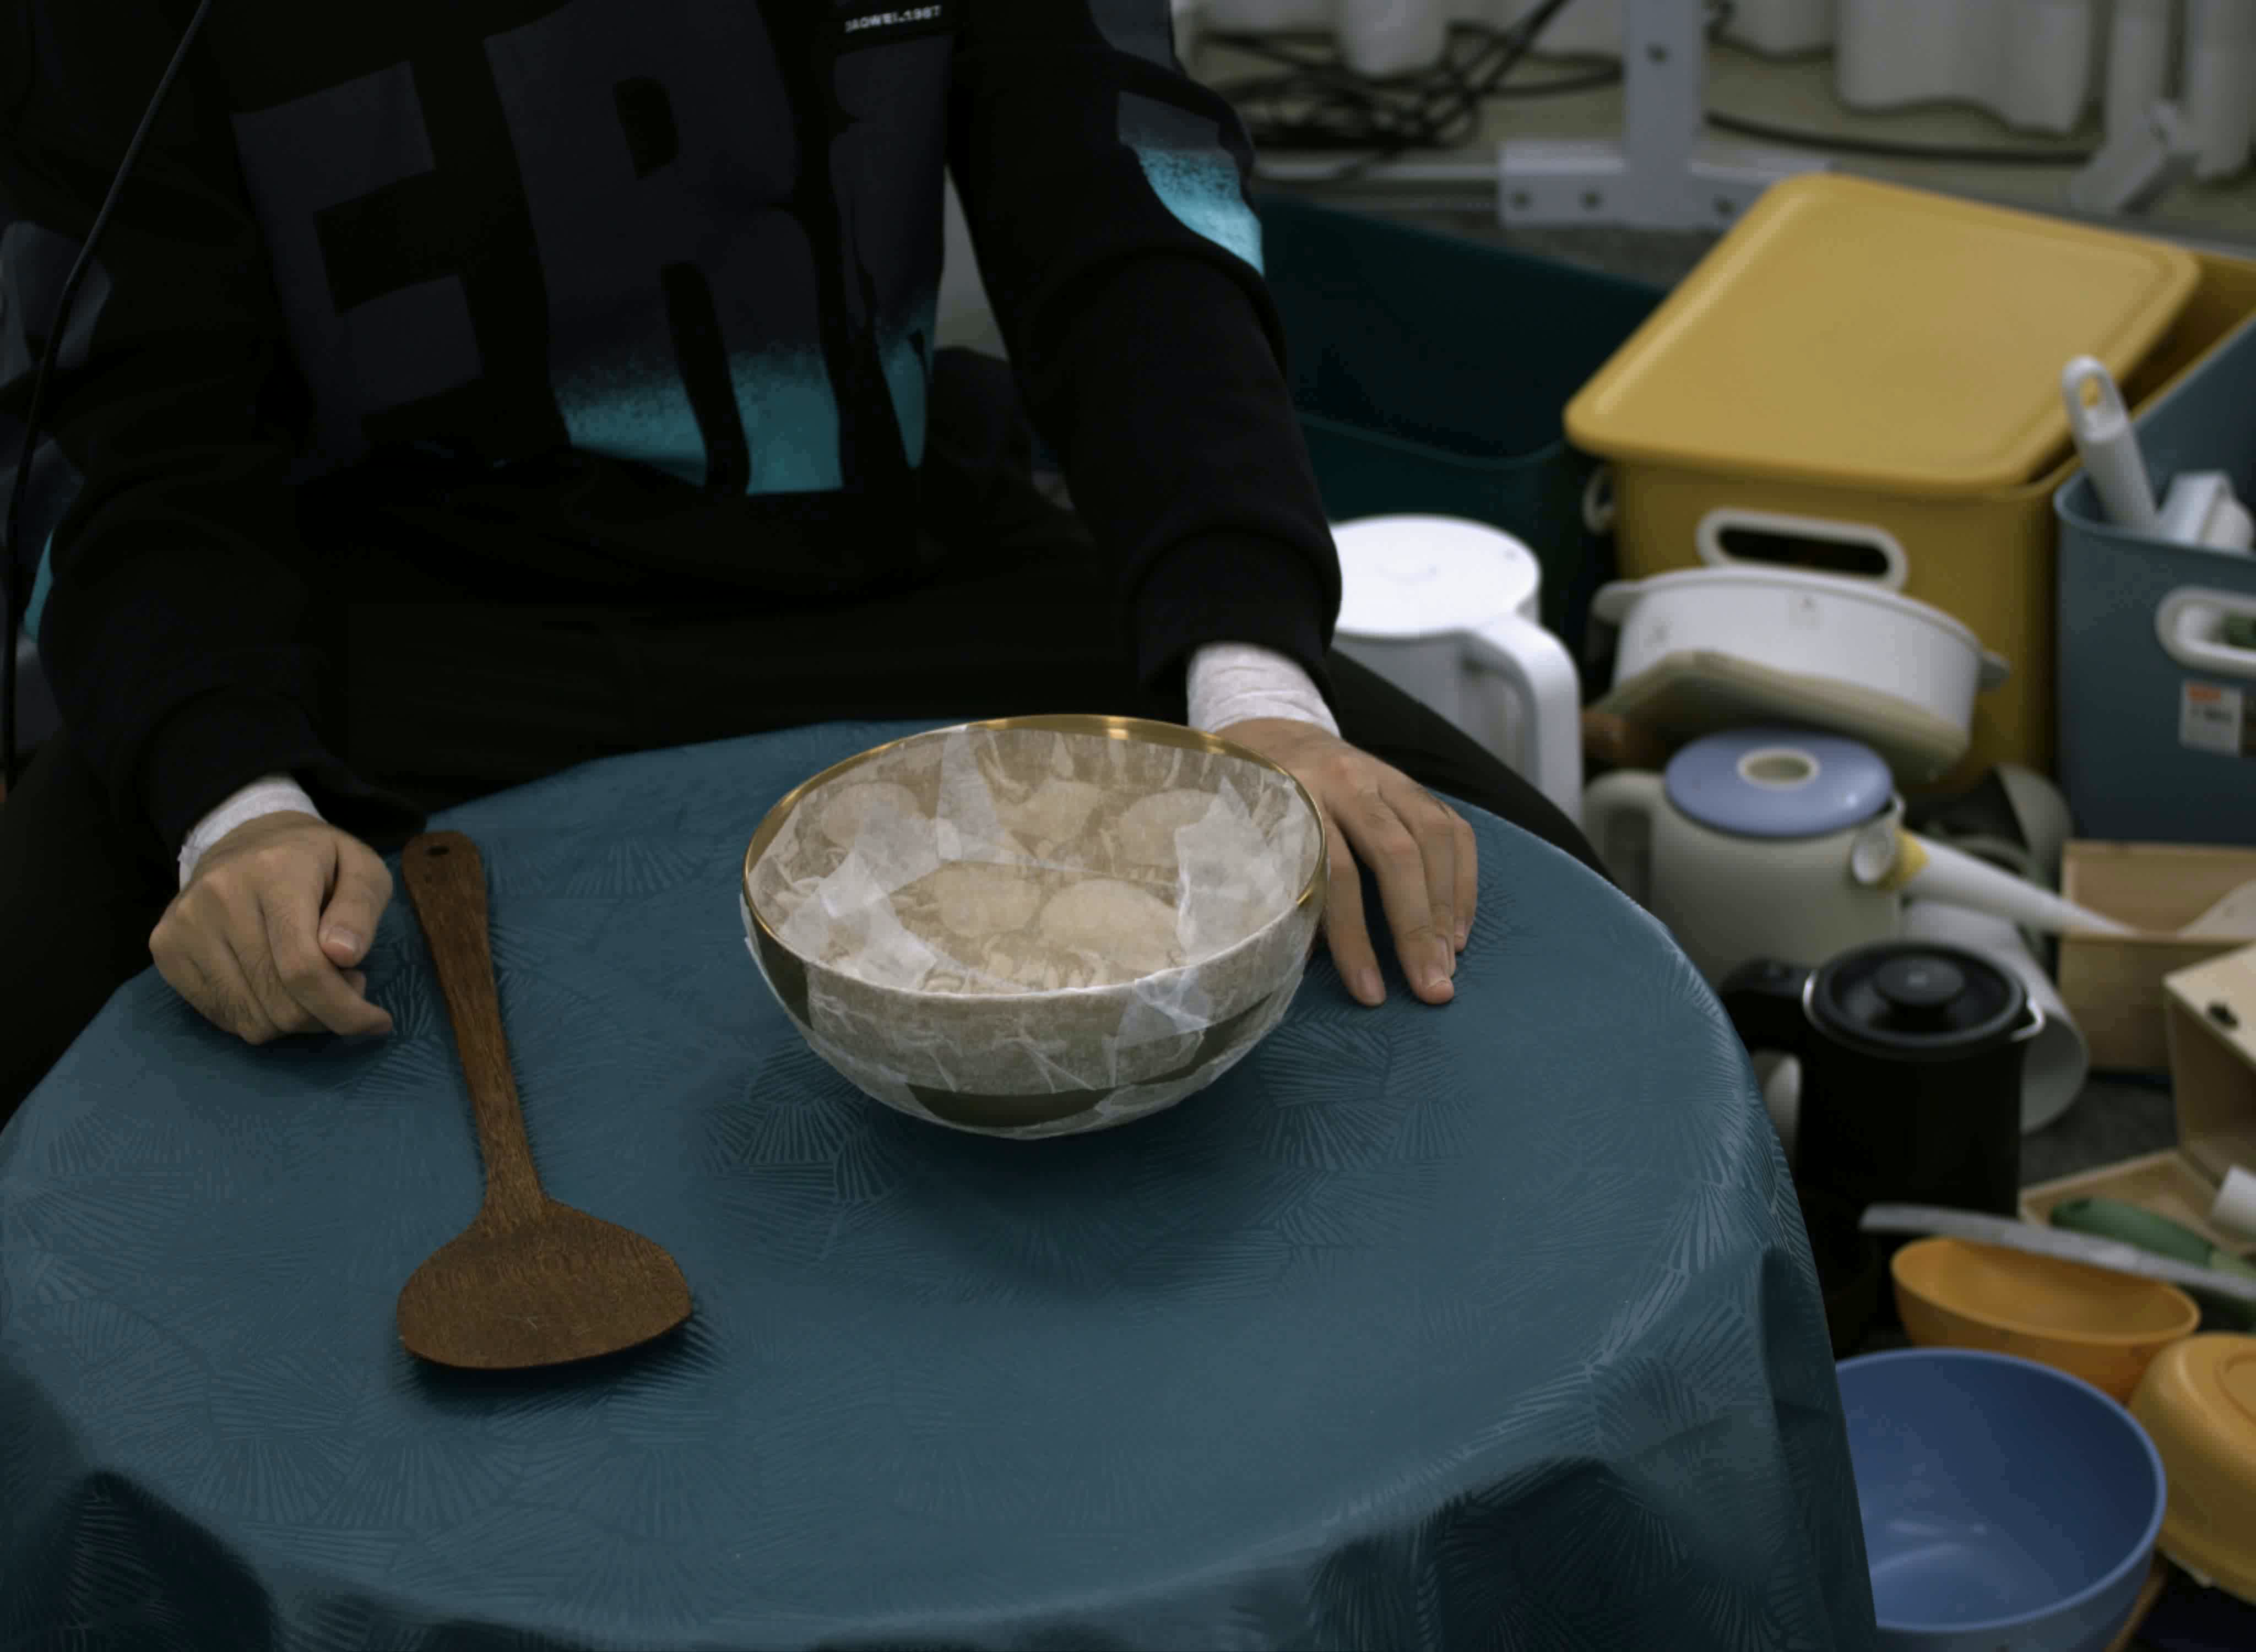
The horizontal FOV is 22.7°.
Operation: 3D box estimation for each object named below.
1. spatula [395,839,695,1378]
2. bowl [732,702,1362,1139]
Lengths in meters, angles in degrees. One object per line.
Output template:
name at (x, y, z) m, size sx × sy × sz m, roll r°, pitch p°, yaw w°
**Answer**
spatula at (-0.220, 0.089, 1.933) m, size 0.096 × 0.015 × 0.390 m, roll -7°, pitch 27°, yaw -10°
bowl at (-0.026, 0.045, 1.911) m, size 0.213 × 0.093 × 0.218 m, roll -4°, pitch 27°, yaw 2°
